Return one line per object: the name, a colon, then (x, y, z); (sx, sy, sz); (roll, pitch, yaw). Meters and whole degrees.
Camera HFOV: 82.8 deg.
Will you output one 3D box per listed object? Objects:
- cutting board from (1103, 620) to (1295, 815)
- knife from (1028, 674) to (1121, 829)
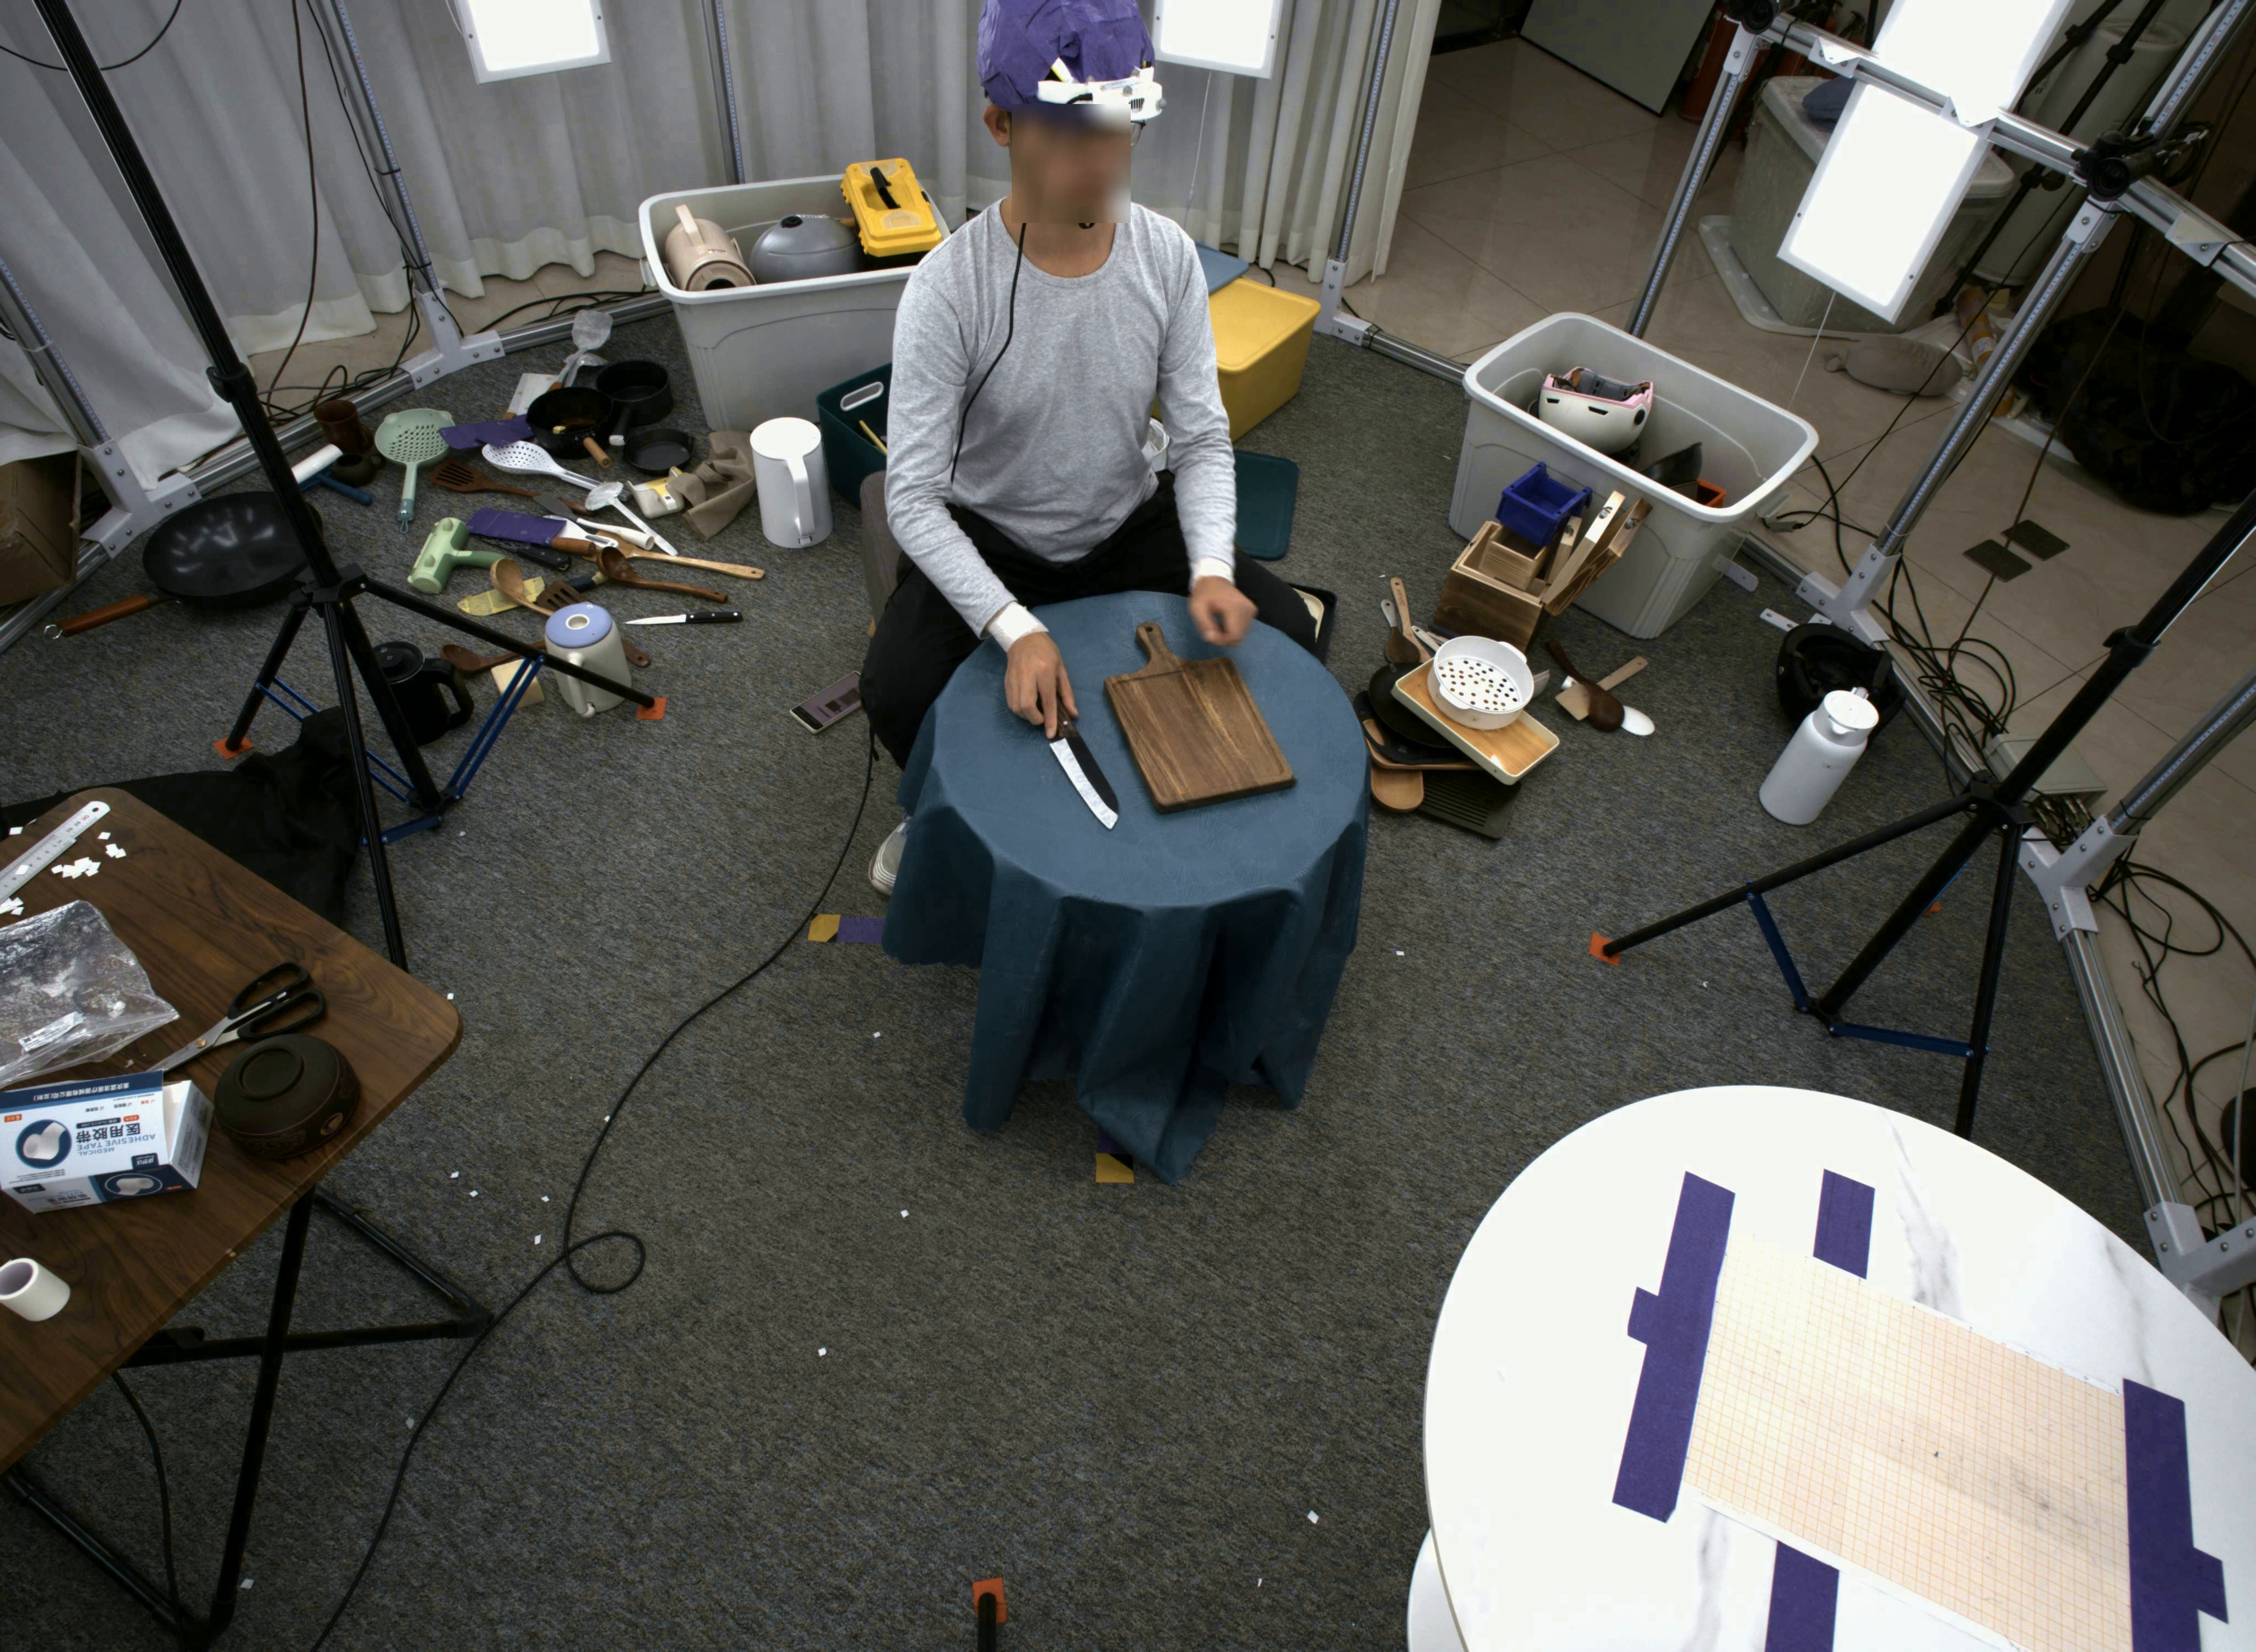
cutting board: (0.080, -0.169, 1.806); (0.201, 0.022, 0.361); (-11, 51, -14)
knife: (-0.075, -0.104, 1.742); (0.050, 0.019, 0.296); (-19, 55, -12)
